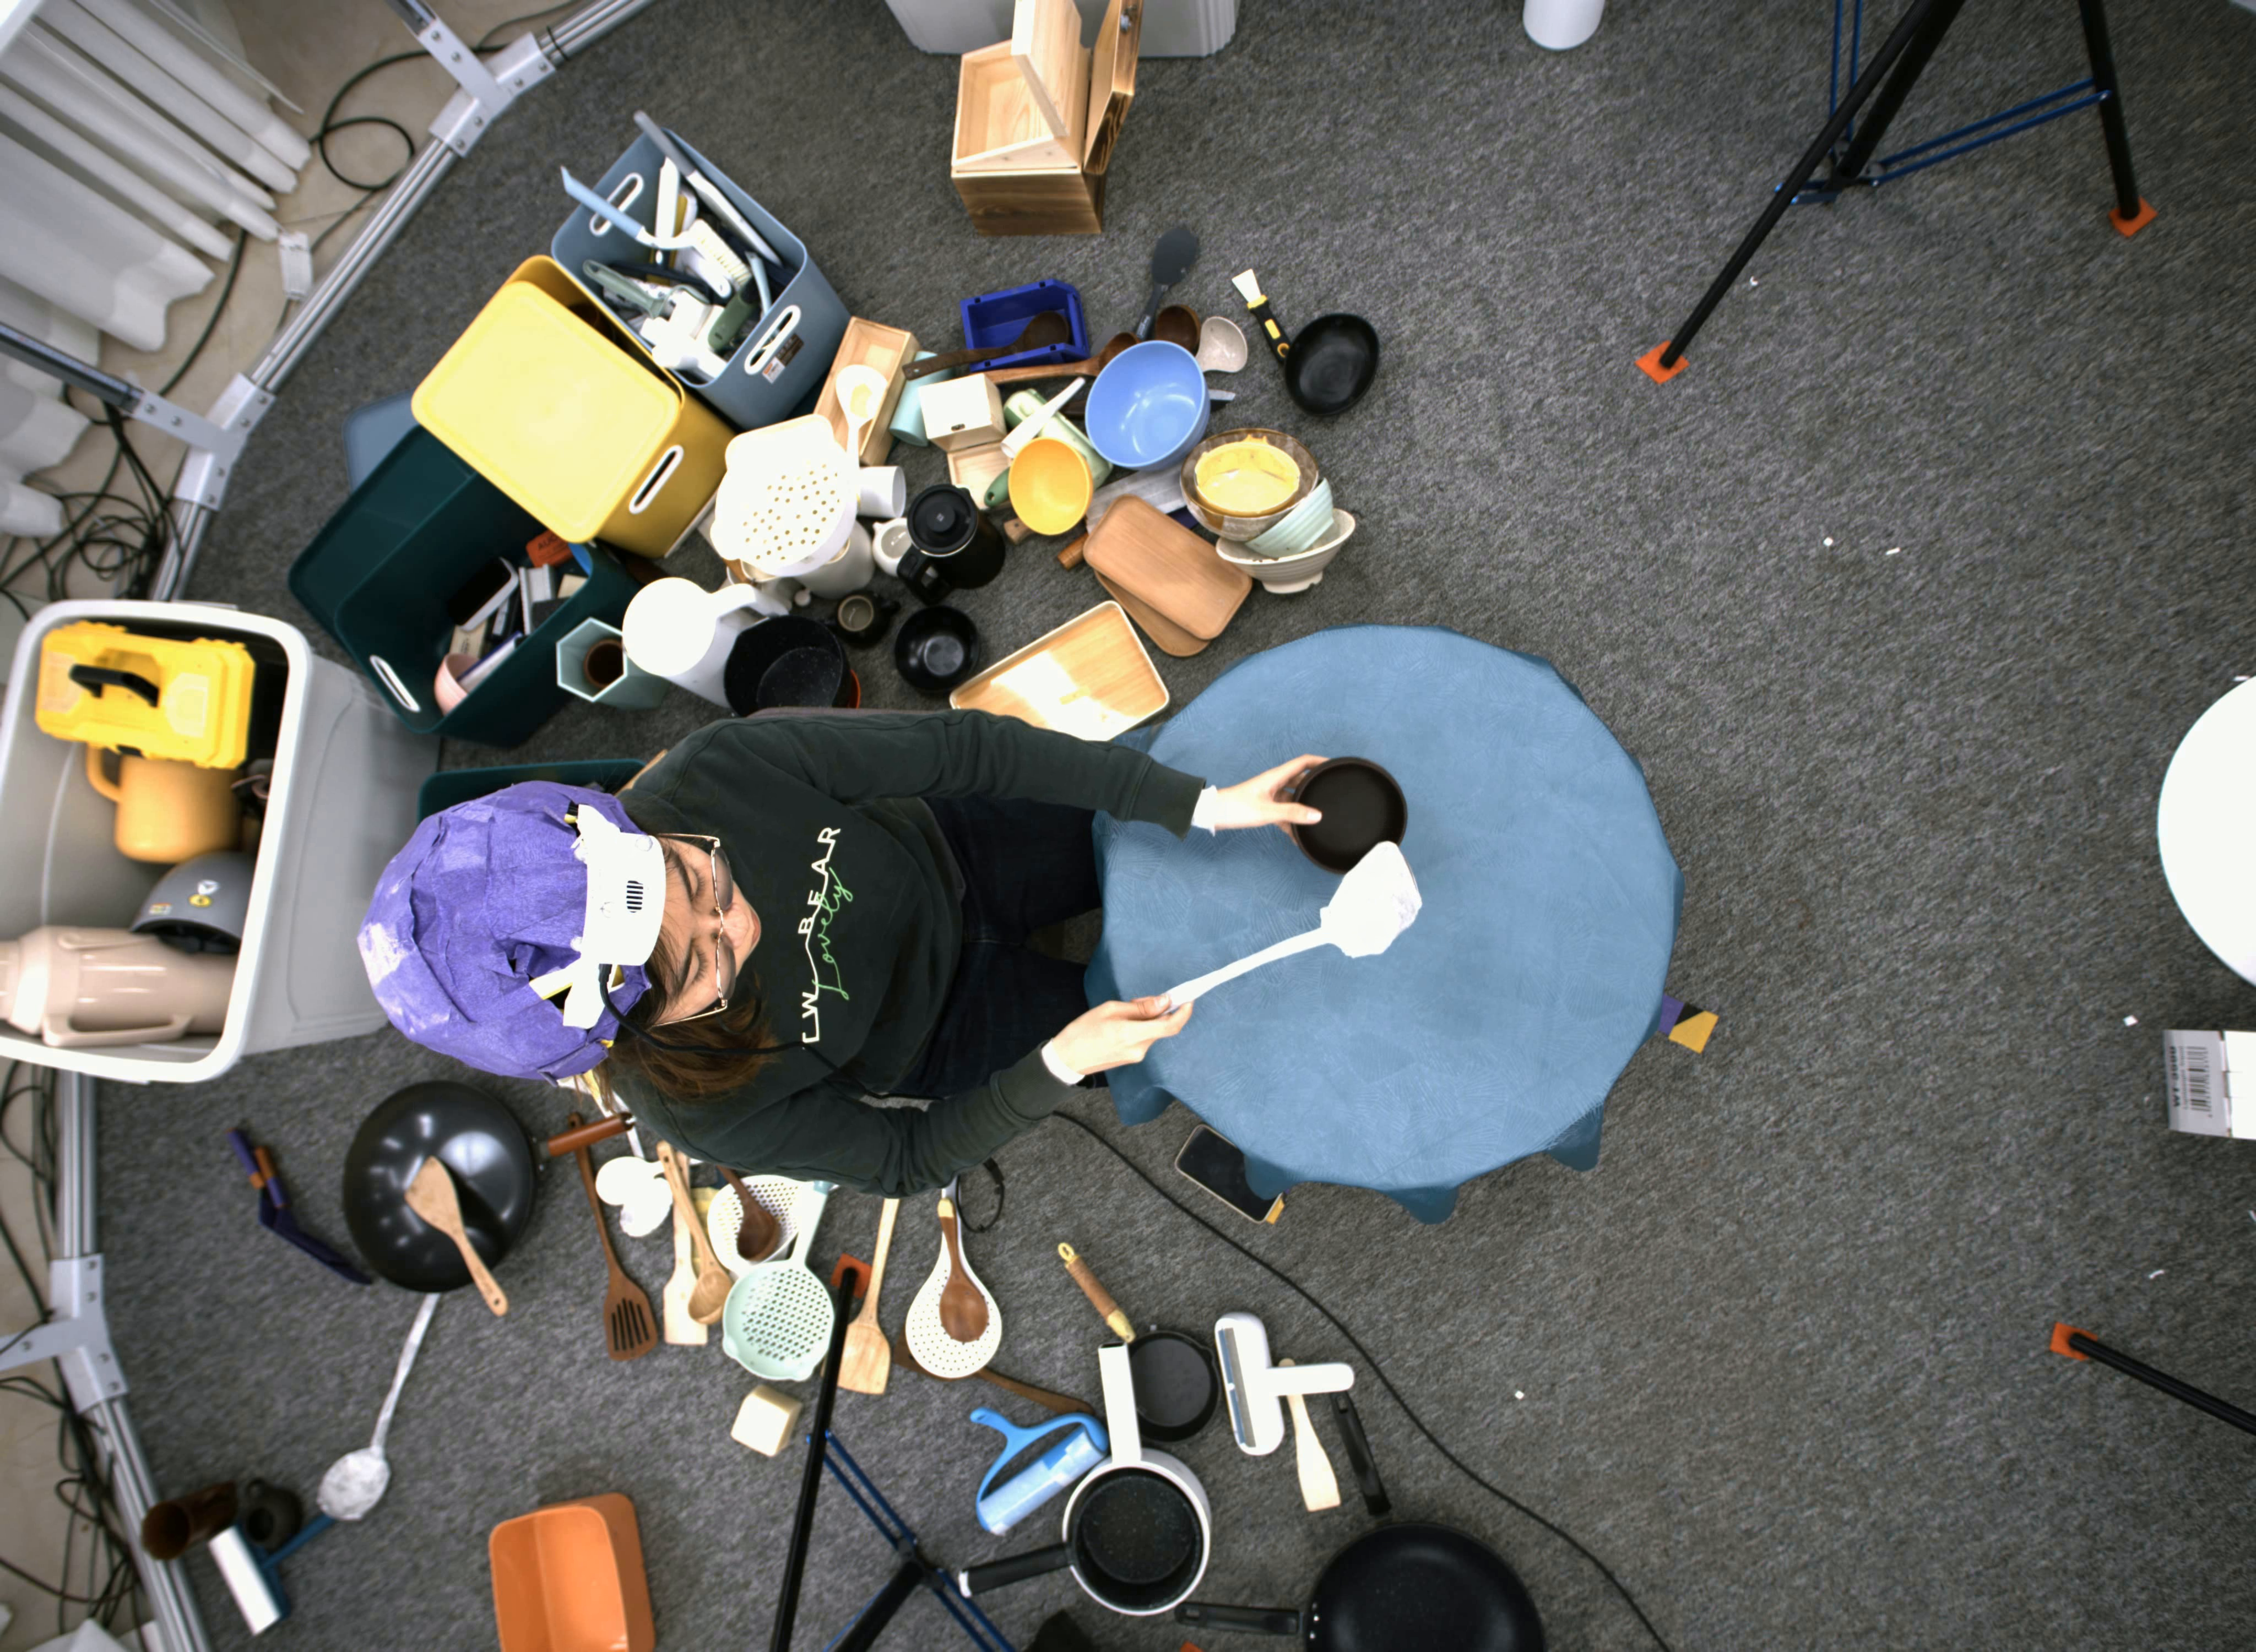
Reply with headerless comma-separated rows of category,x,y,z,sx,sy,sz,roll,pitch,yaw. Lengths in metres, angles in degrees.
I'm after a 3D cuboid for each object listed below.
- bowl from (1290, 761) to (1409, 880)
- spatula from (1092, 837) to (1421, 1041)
bowl,0.222,-0.008,1.391,0.118,0.069,0.119,1,99,6
spatula,0.113,0.126,1.323,0.369,0.045,0.096,-27,49,16
